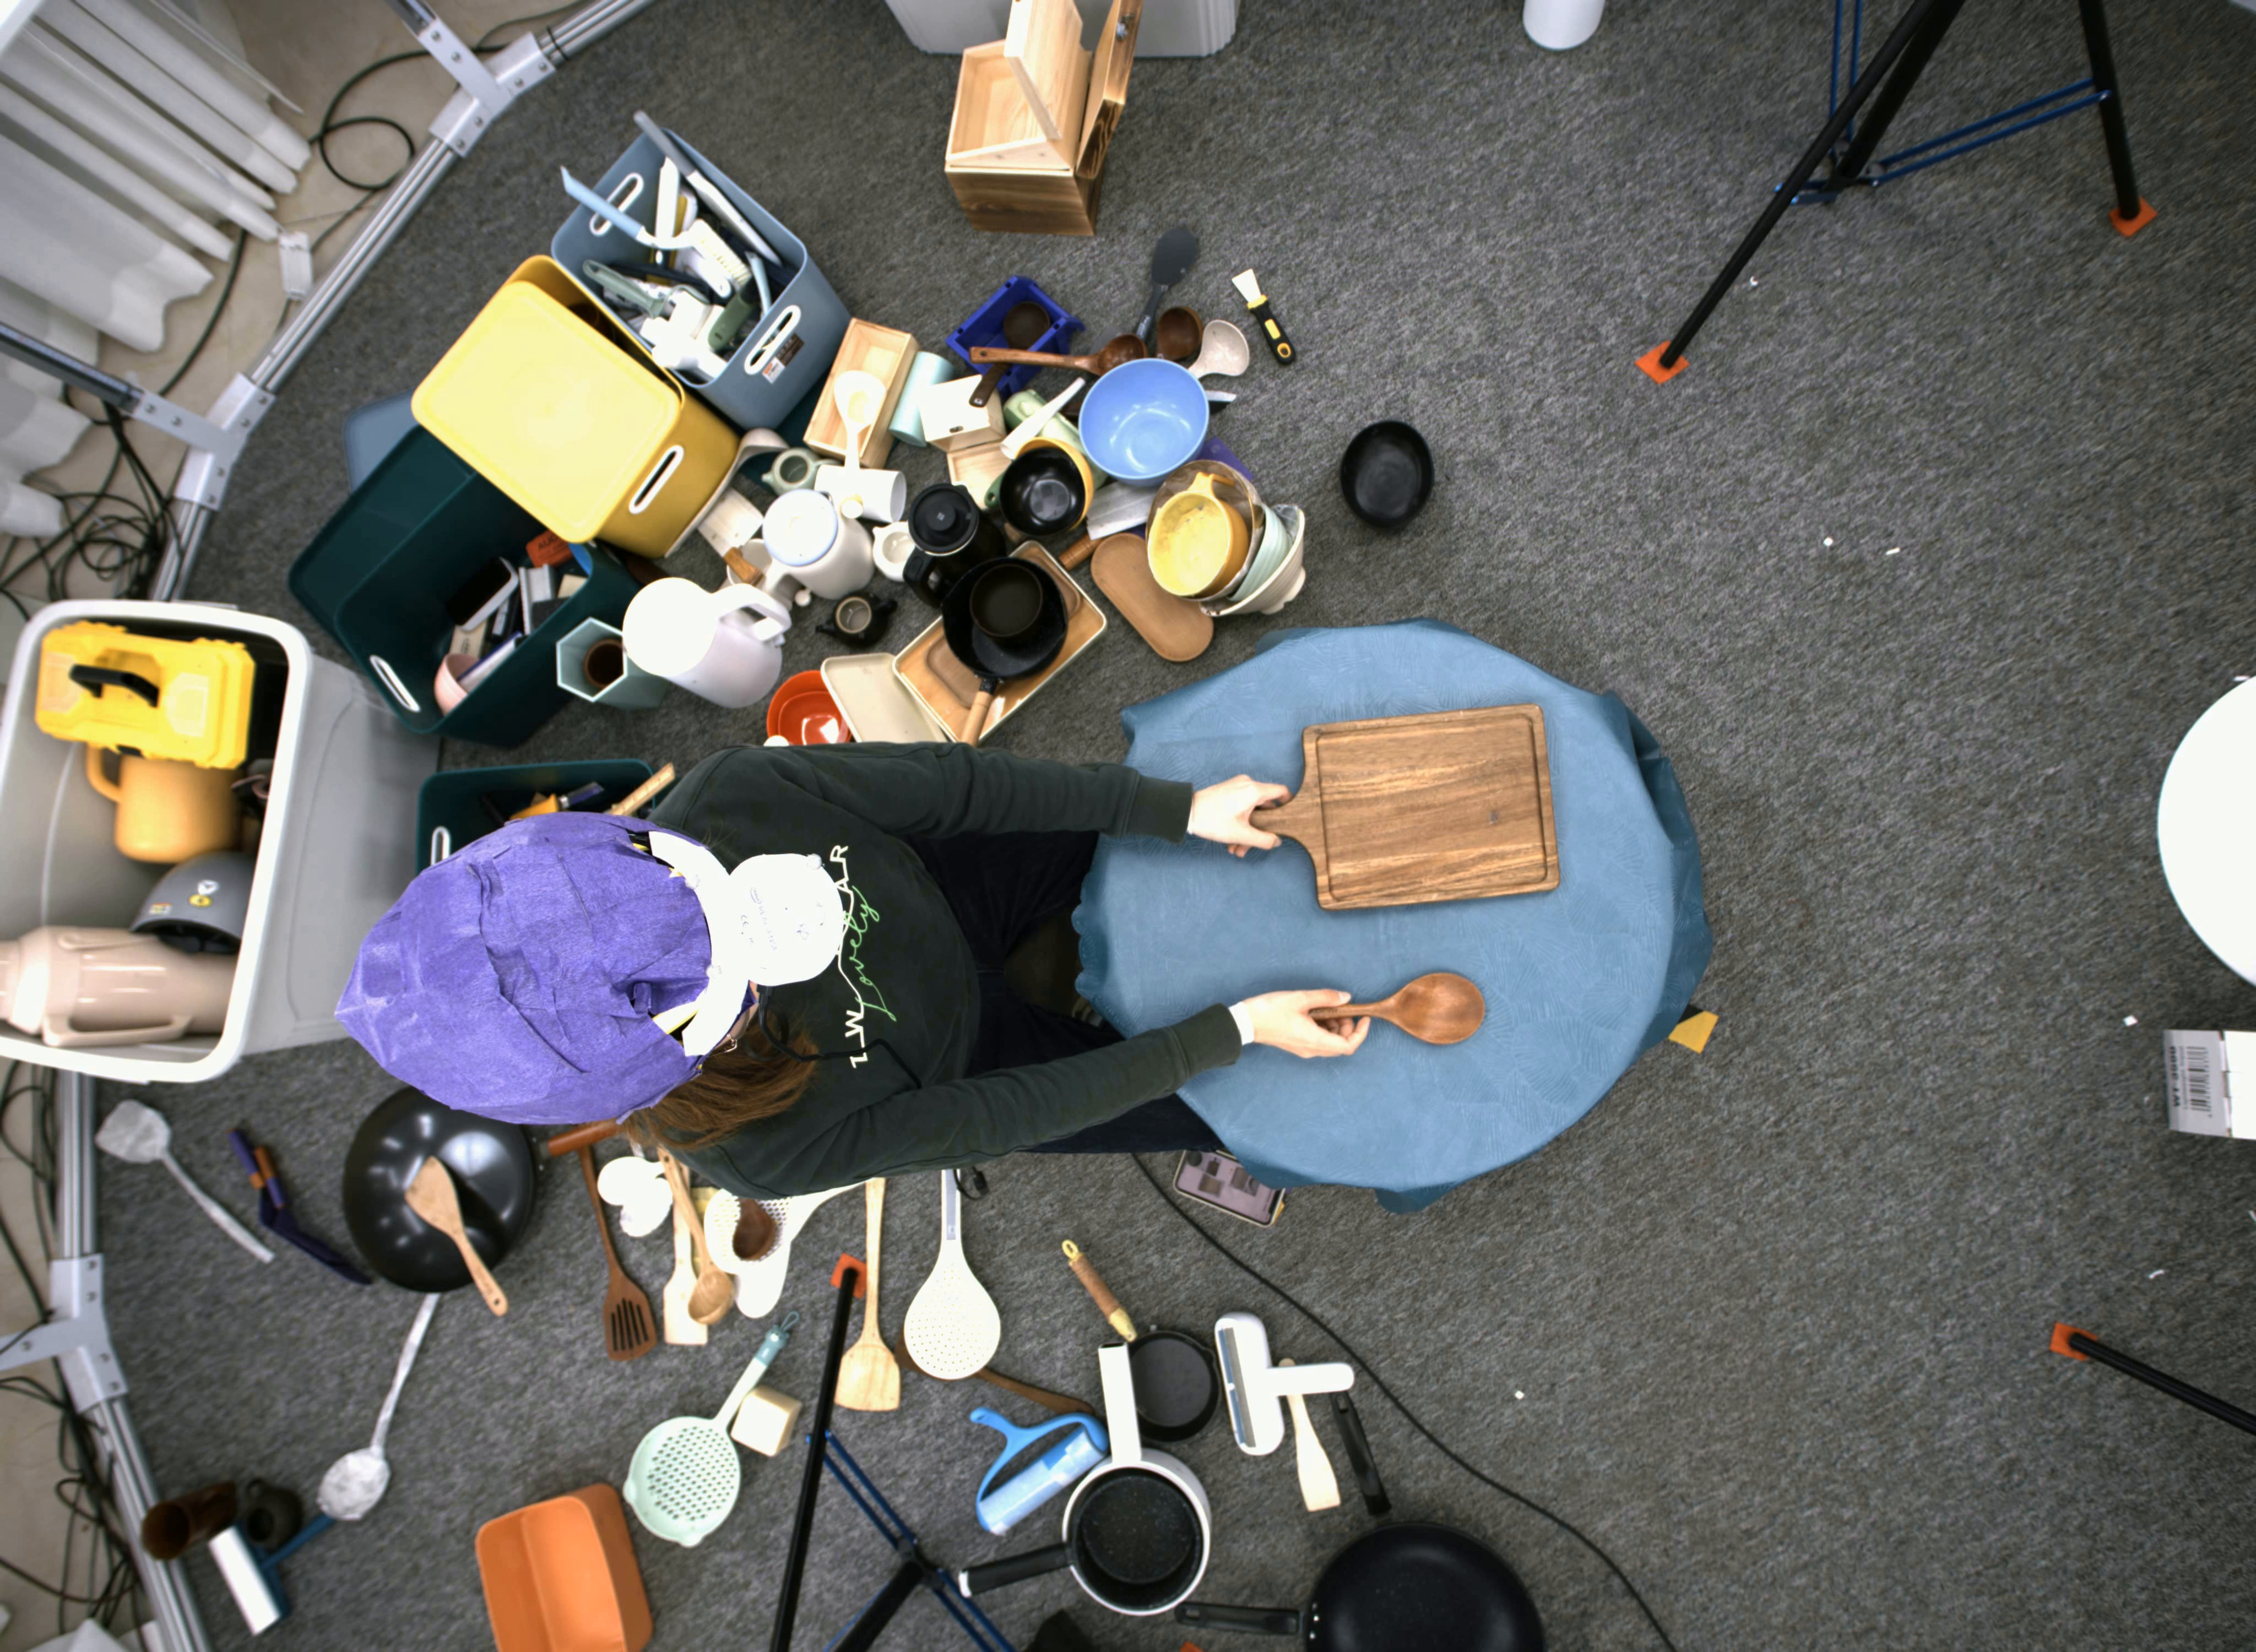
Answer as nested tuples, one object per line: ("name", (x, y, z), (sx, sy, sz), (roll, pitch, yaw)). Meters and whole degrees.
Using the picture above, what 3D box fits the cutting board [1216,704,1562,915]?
("cutting board", (0.267, -0.013, 1.443), (0.353, 0.023, 0.201), (-6, 91, 6))

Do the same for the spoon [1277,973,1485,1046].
("spoon", (0.263, 0.190, 1.436), (0.216, 0.017, 0.075), (-1, 87, 0))
